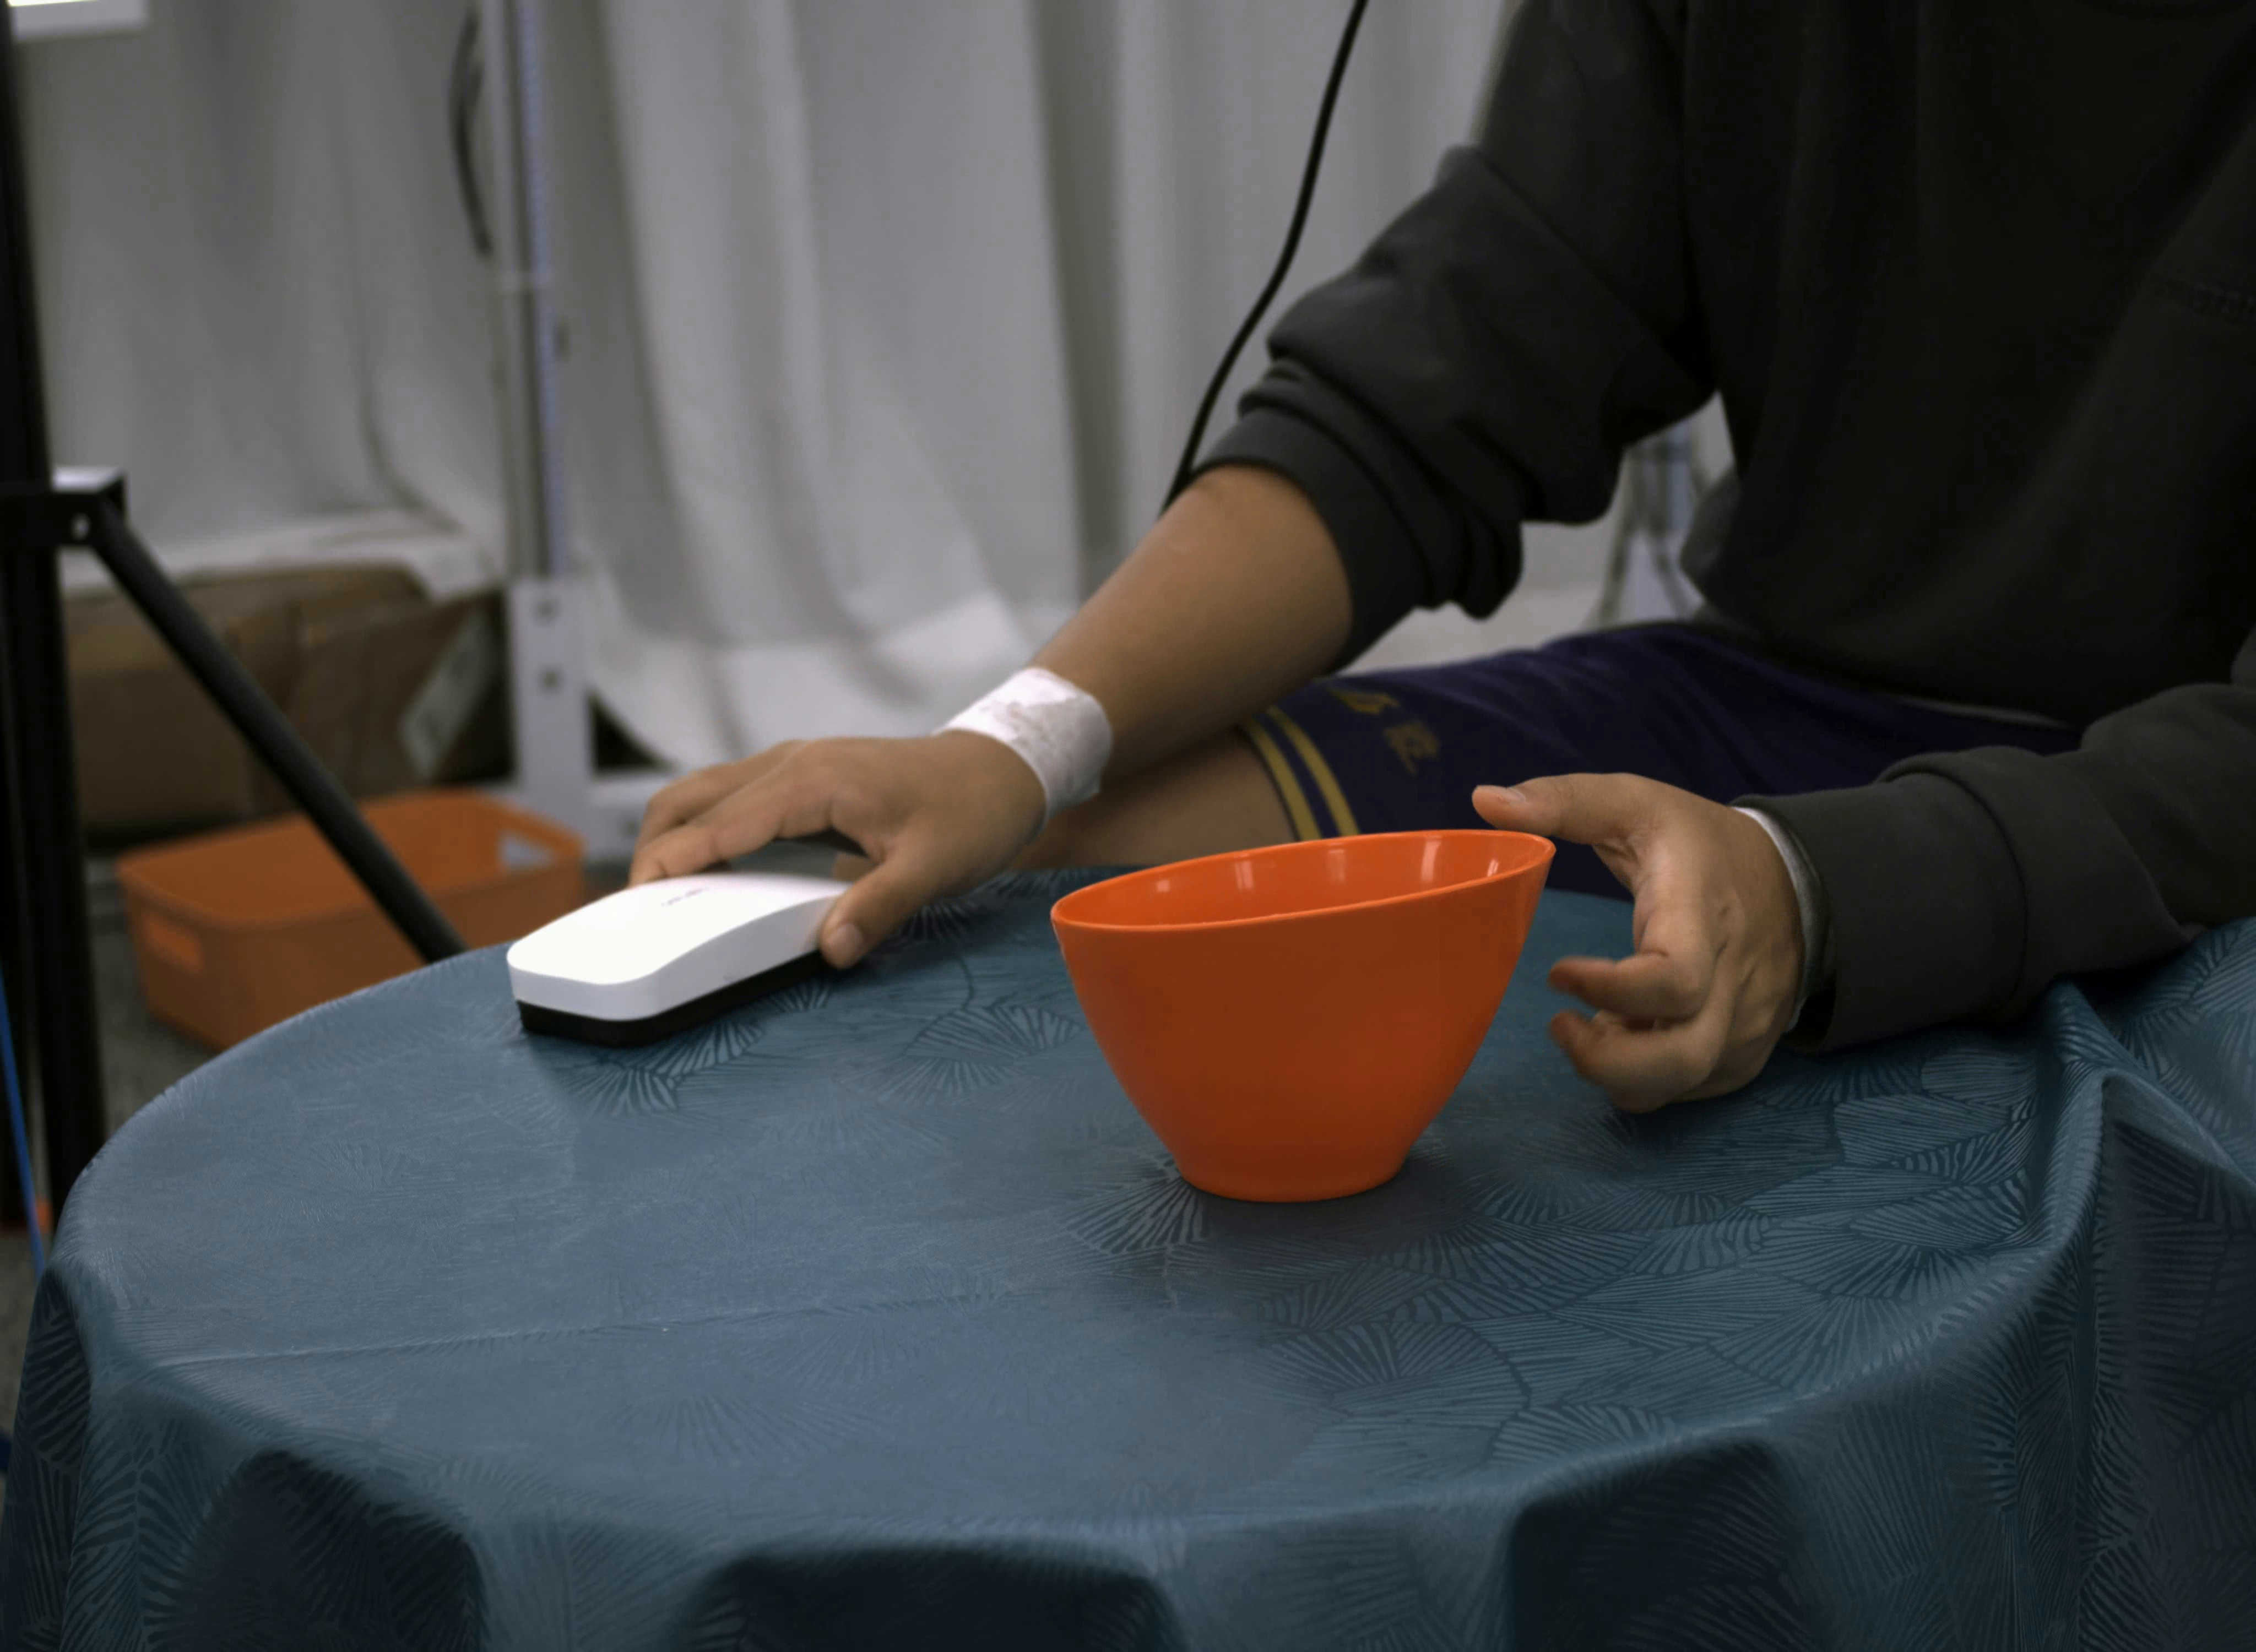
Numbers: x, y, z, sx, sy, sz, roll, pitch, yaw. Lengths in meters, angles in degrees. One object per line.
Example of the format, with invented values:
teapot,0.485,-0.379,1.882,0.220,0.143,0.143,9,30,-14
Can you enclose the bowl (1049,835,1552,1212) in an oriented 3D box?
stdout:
bowl,0.051,0.056,1.553,0.147,0.104,0.149,-3,15,-1

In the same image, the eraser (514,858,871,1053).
eraser,-0.142,0.039,1.767,0.065,0.034,0.128,11,22,37
